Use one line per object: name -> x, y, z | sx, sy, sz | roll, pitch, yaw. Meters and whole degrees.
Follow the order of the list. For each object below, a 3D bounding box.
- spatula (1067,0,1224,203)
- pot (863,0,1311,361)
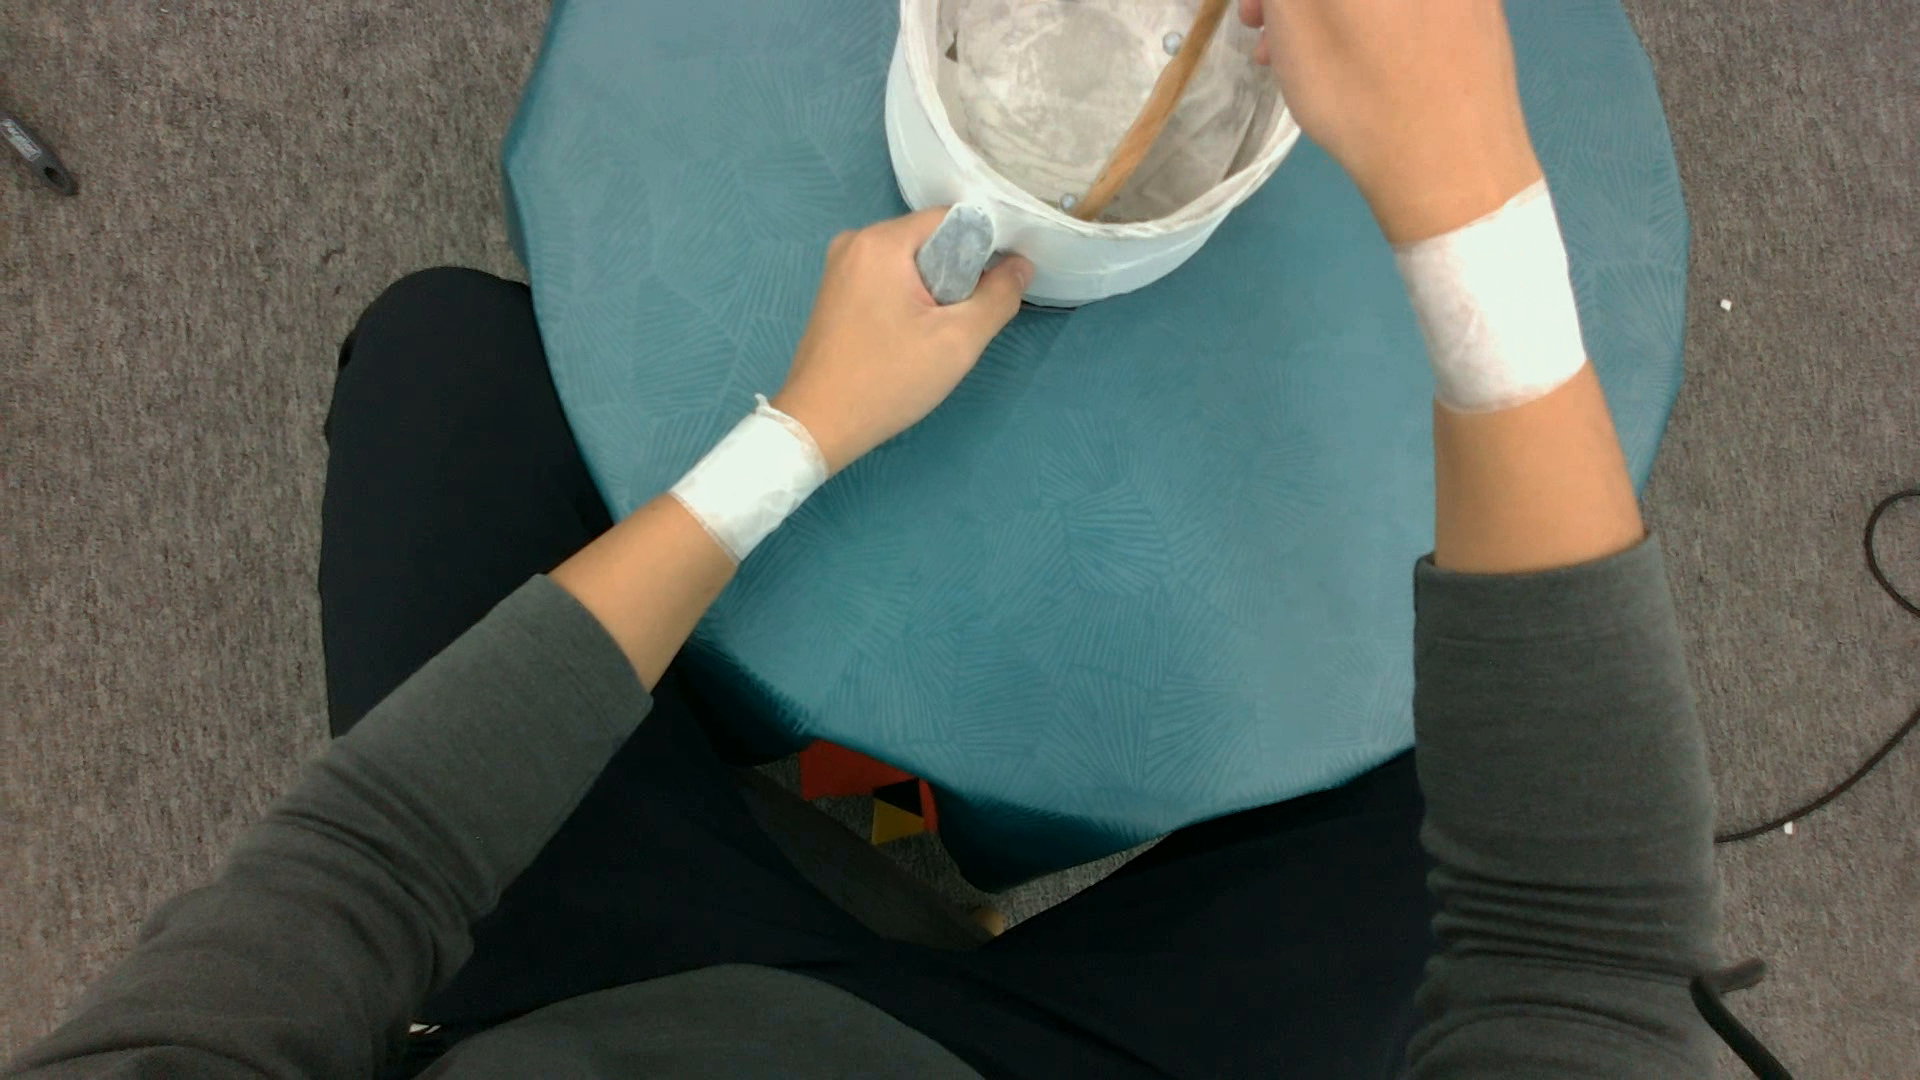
spatula -> 0.097, -0.204, 0.450 | 0.018, 0.390, 0.096 | 31, 82, -2
pot -> 0.037, -0.187, 0.627 | 0.178, 0.136, 0.234 | 35, 83, -3
